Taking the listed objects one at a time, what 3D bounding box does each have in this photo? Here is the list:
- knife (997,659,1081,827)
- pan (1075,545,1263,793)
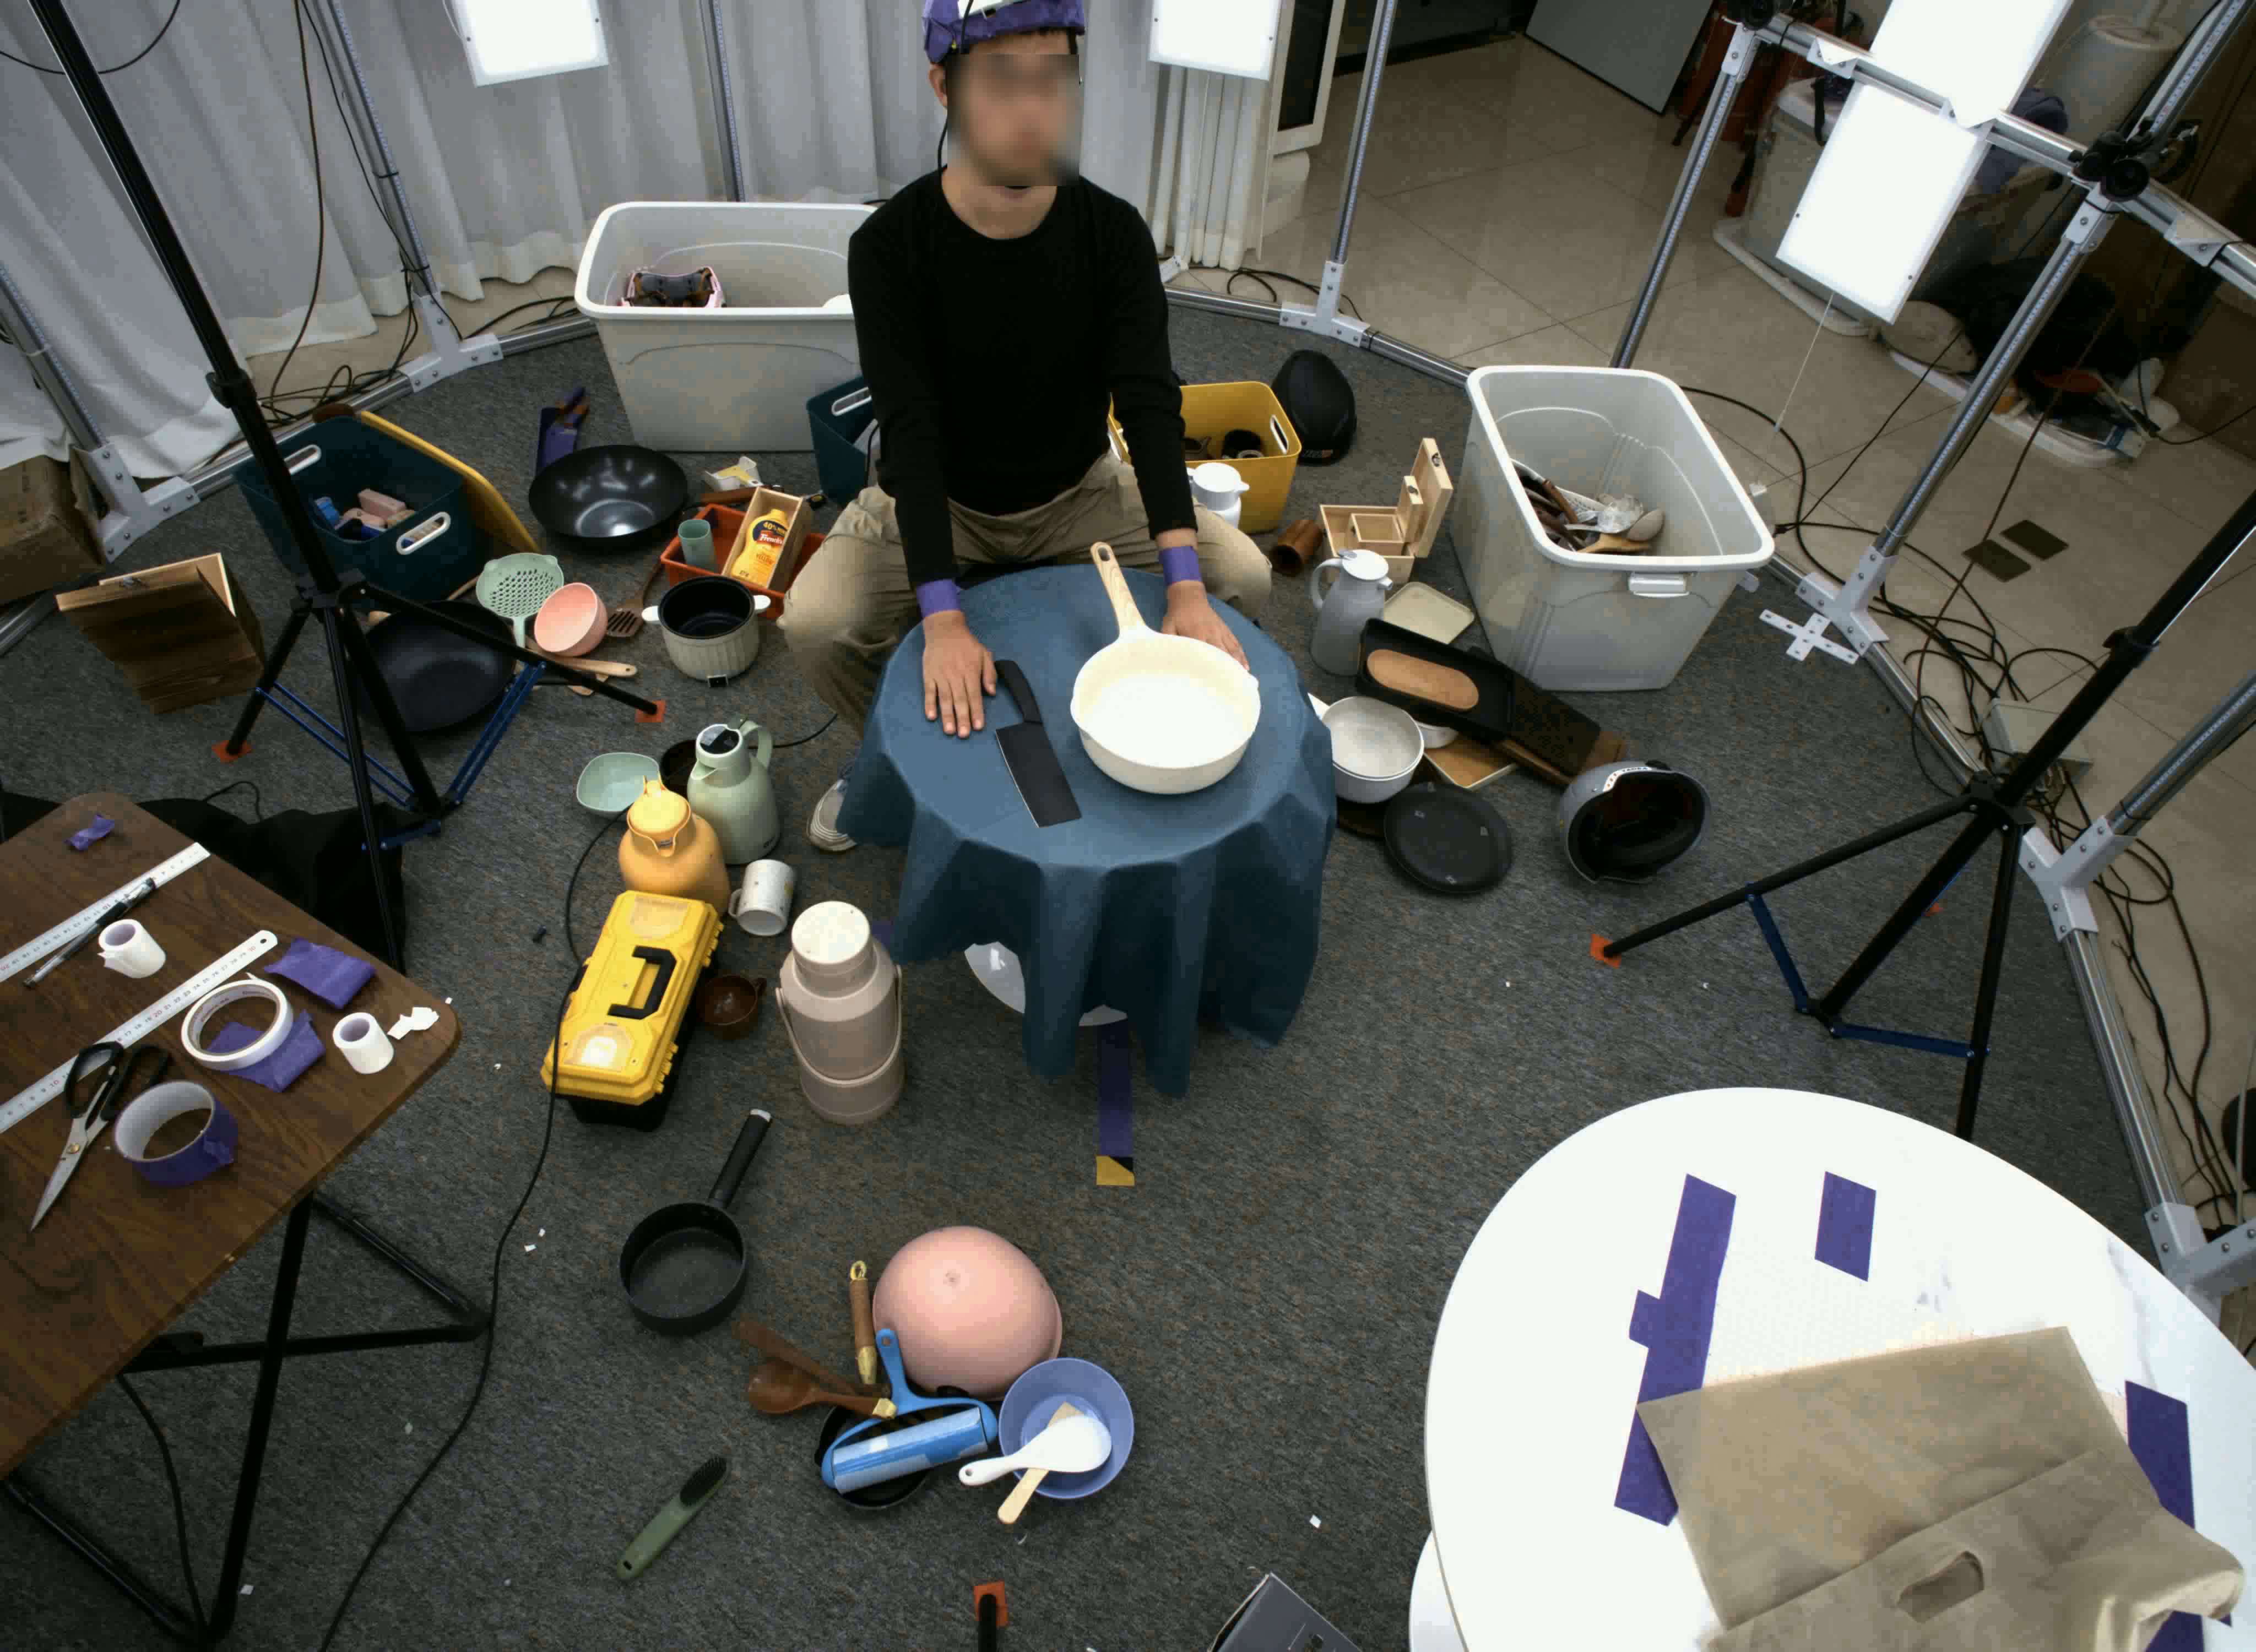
[{"bbox_3d":[-0.136,-0.119,1.755,0.081,0.020,0.310,-10,52,-11],"label":"knife"},{"bbox_3d":[0.025,-0.221,1.799,0.263,0.099,0.445,-14,51,-13],"label":"pan"}]
